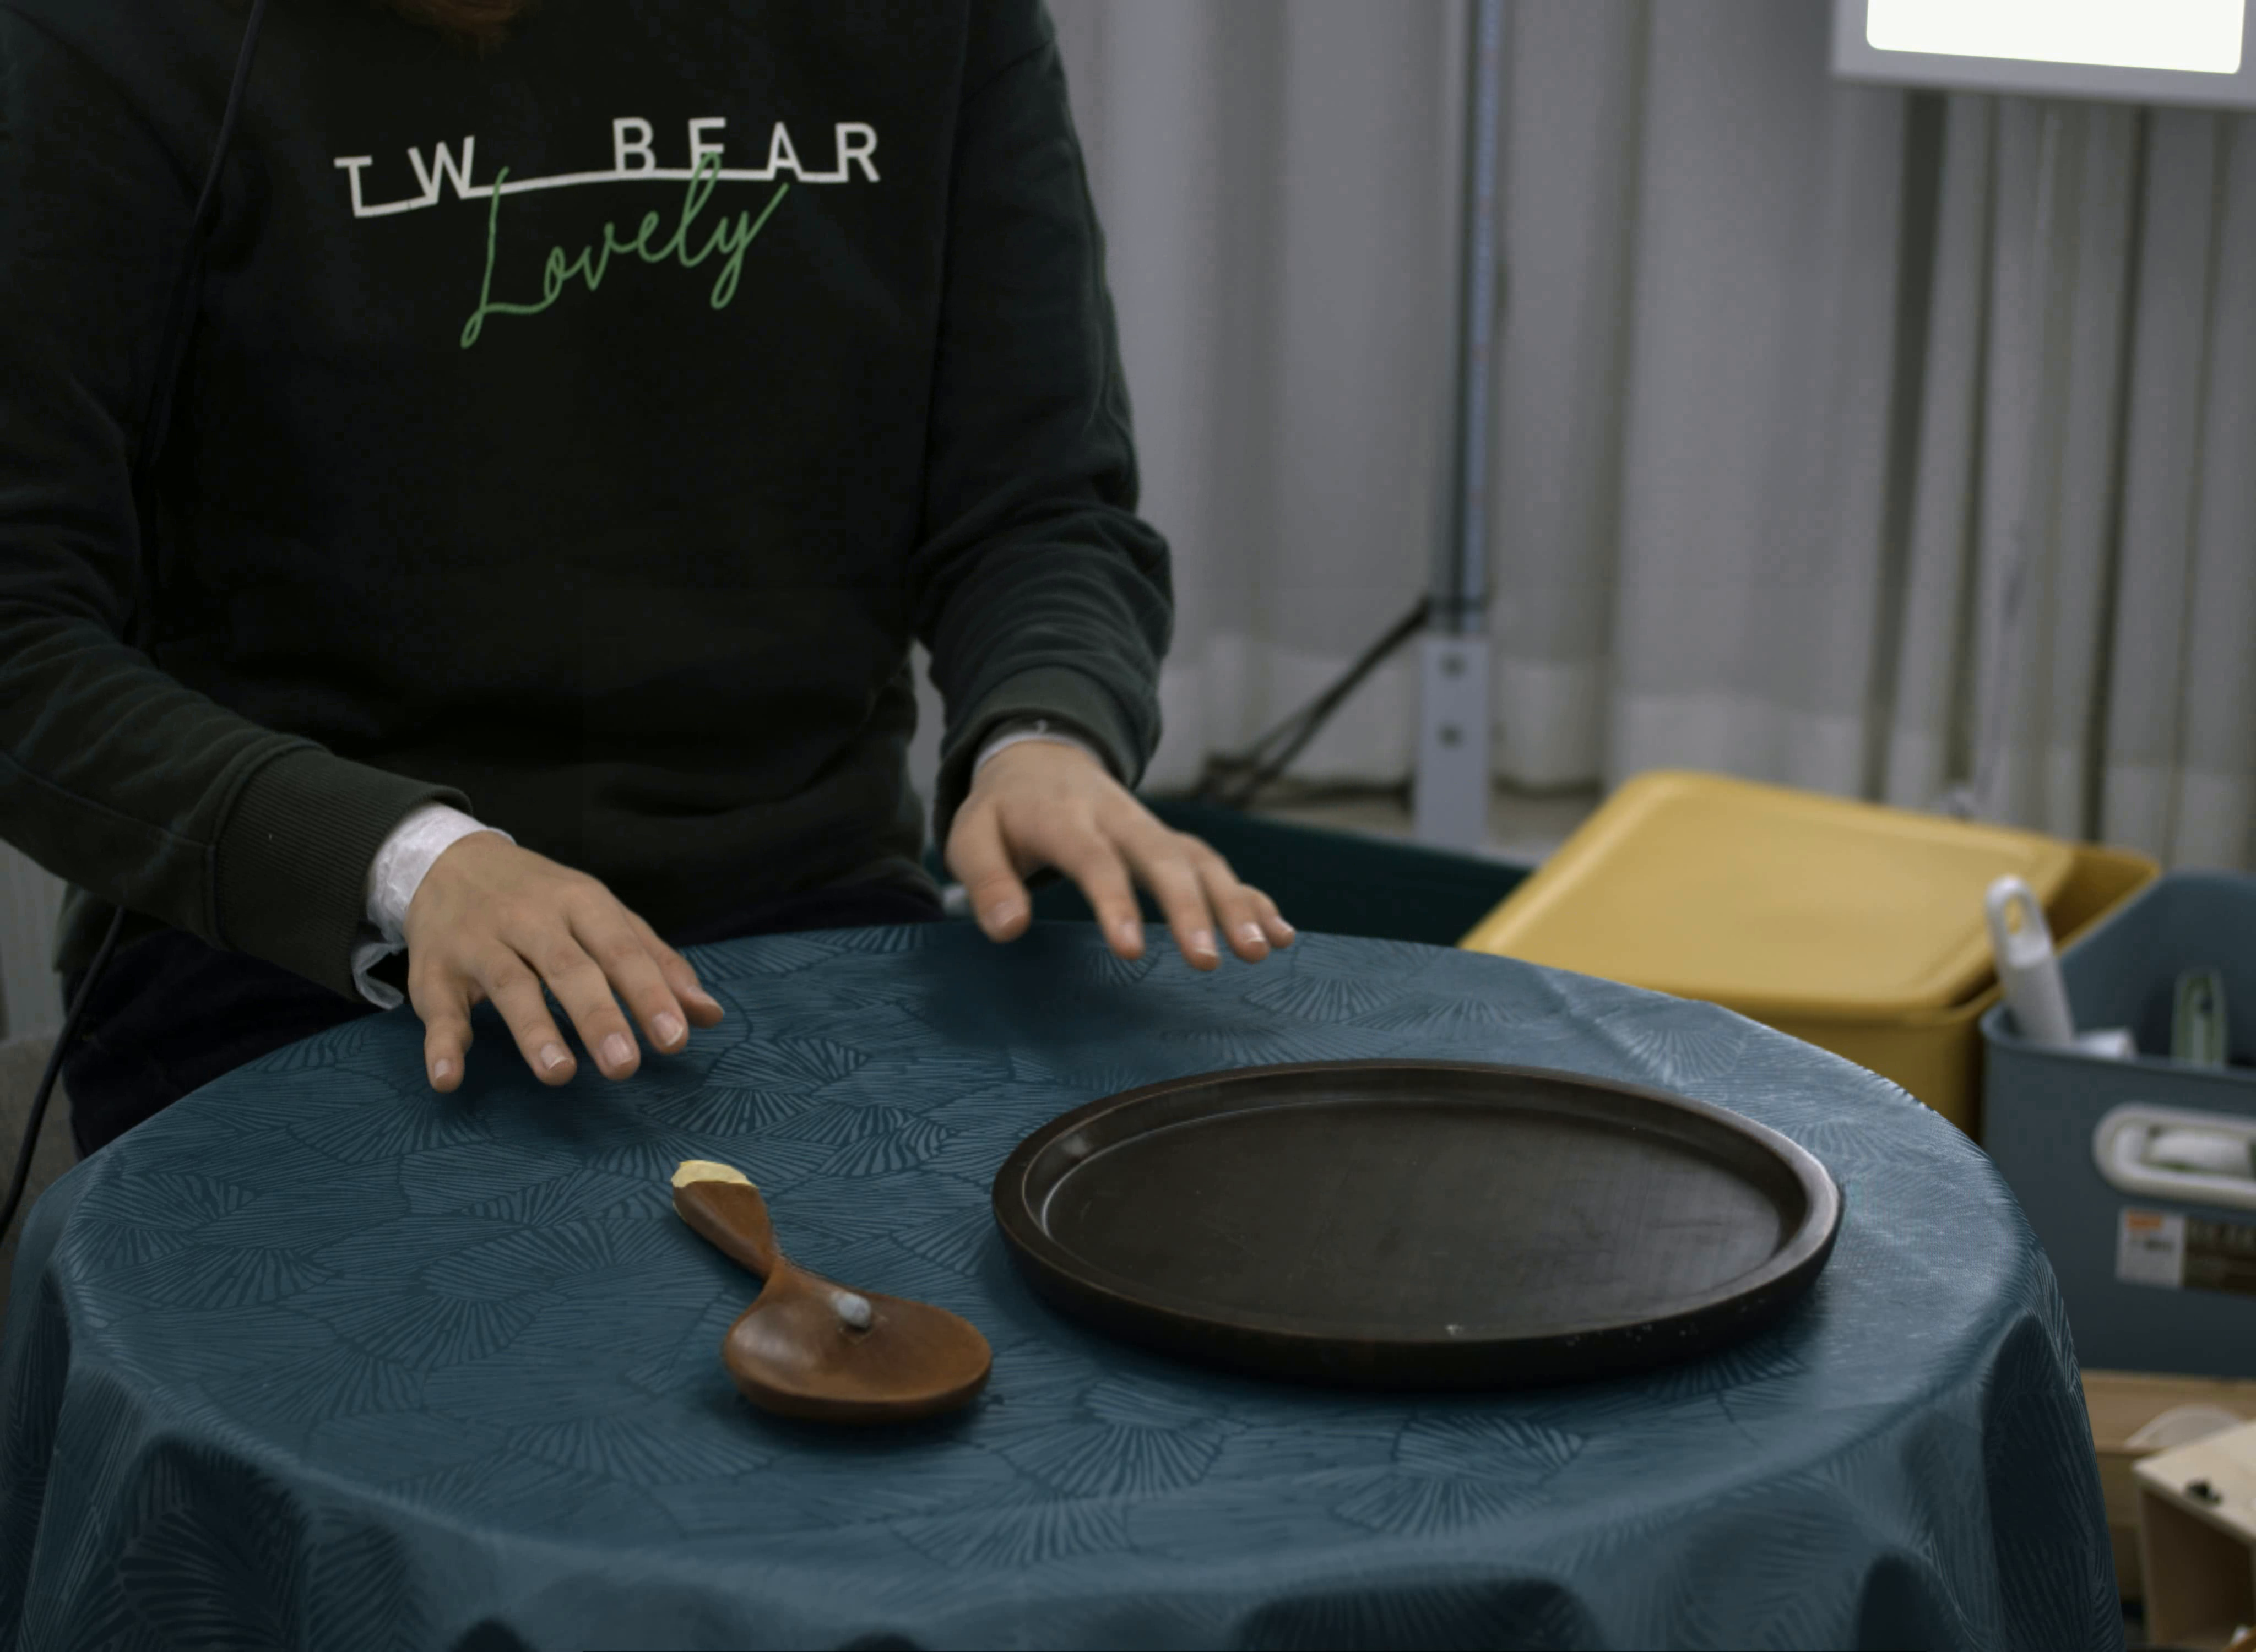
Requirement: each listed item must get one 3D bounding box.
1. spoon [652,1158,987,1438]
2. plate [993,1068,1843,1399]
[{"bbox_3d":[-0.099,0.136,1.513,0.075,0.017,0.213,-5,17,-19],"label":"spoon"},{"bbox_3d":[0.086,0.118,1.570,0.254,0.029,0.253,2,17,0],"label":"plate"}]
